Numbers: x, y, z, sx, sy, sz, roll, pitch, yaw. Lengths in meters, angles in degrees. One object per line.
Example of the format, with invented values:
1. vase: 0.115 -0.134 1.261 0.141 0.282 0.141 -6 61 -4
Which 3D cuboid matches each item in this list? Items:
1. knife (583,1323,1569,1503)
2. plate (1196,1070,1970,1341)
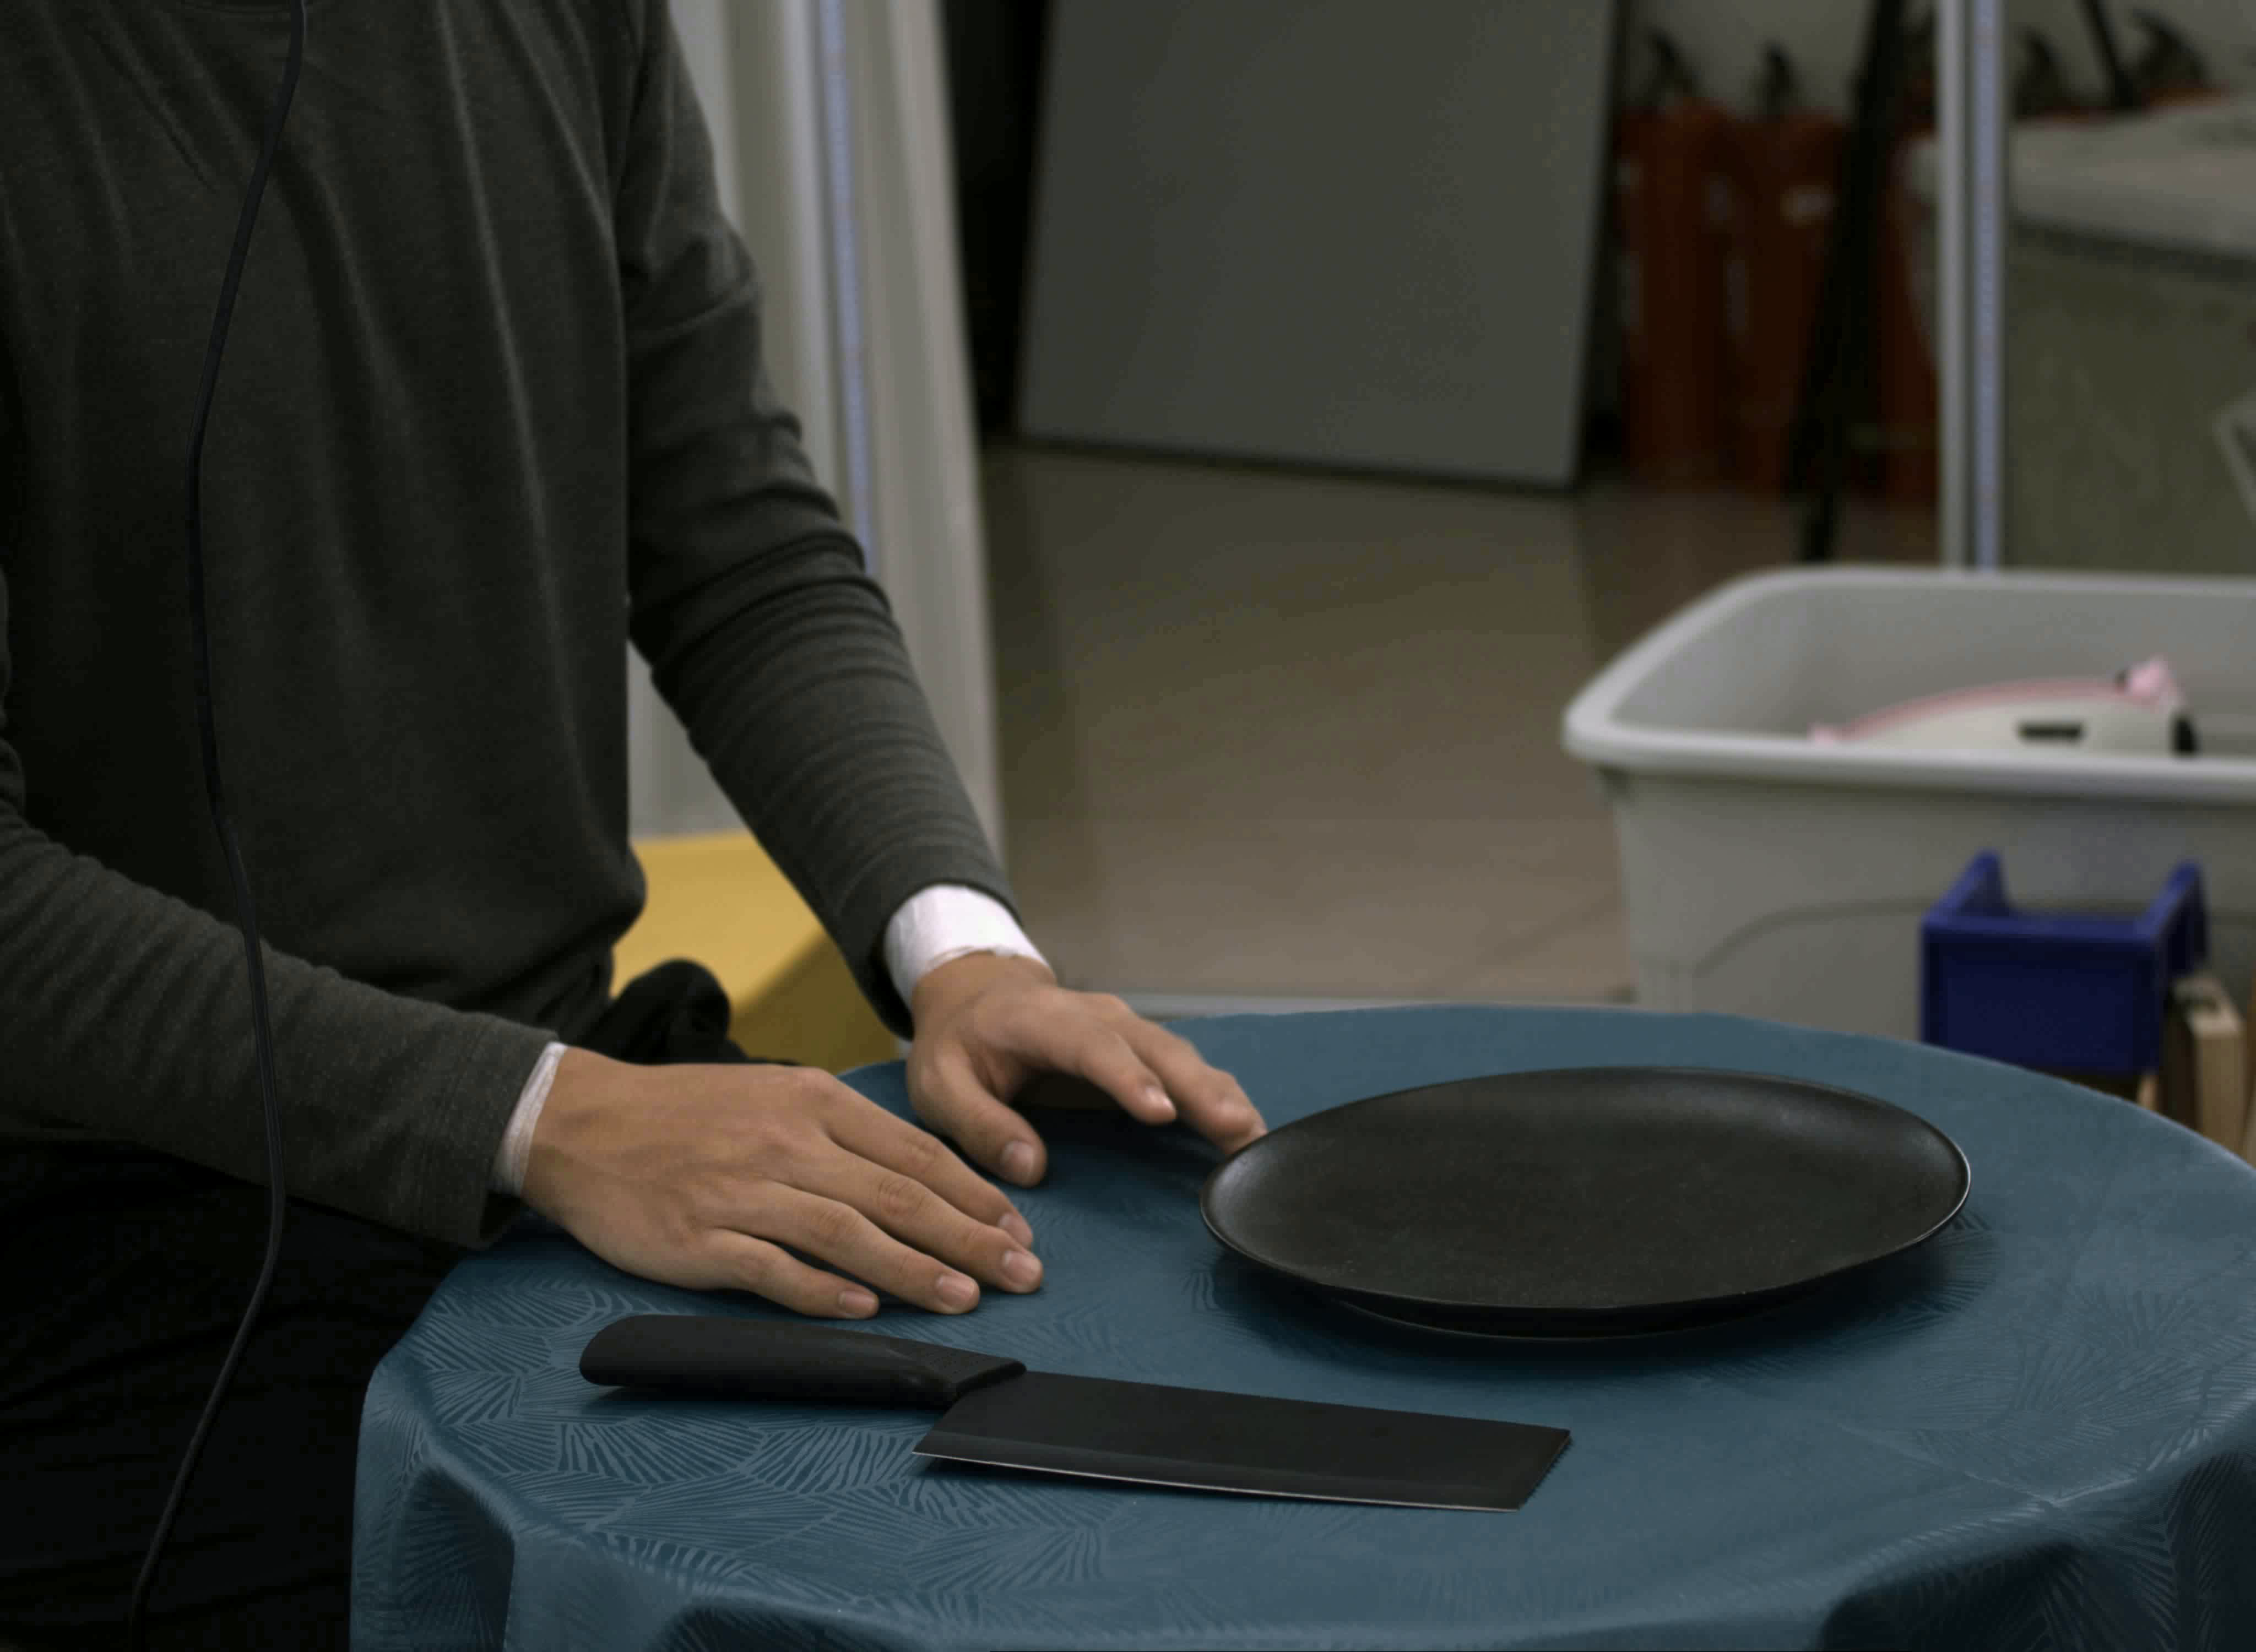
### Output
1. knife: -0.021 0.170 1.552 0.303 0.021 0.080 4 17 26
2. plate: 0.143 0.121 1.685 0.241 0.024 0.245 -4 13 0
